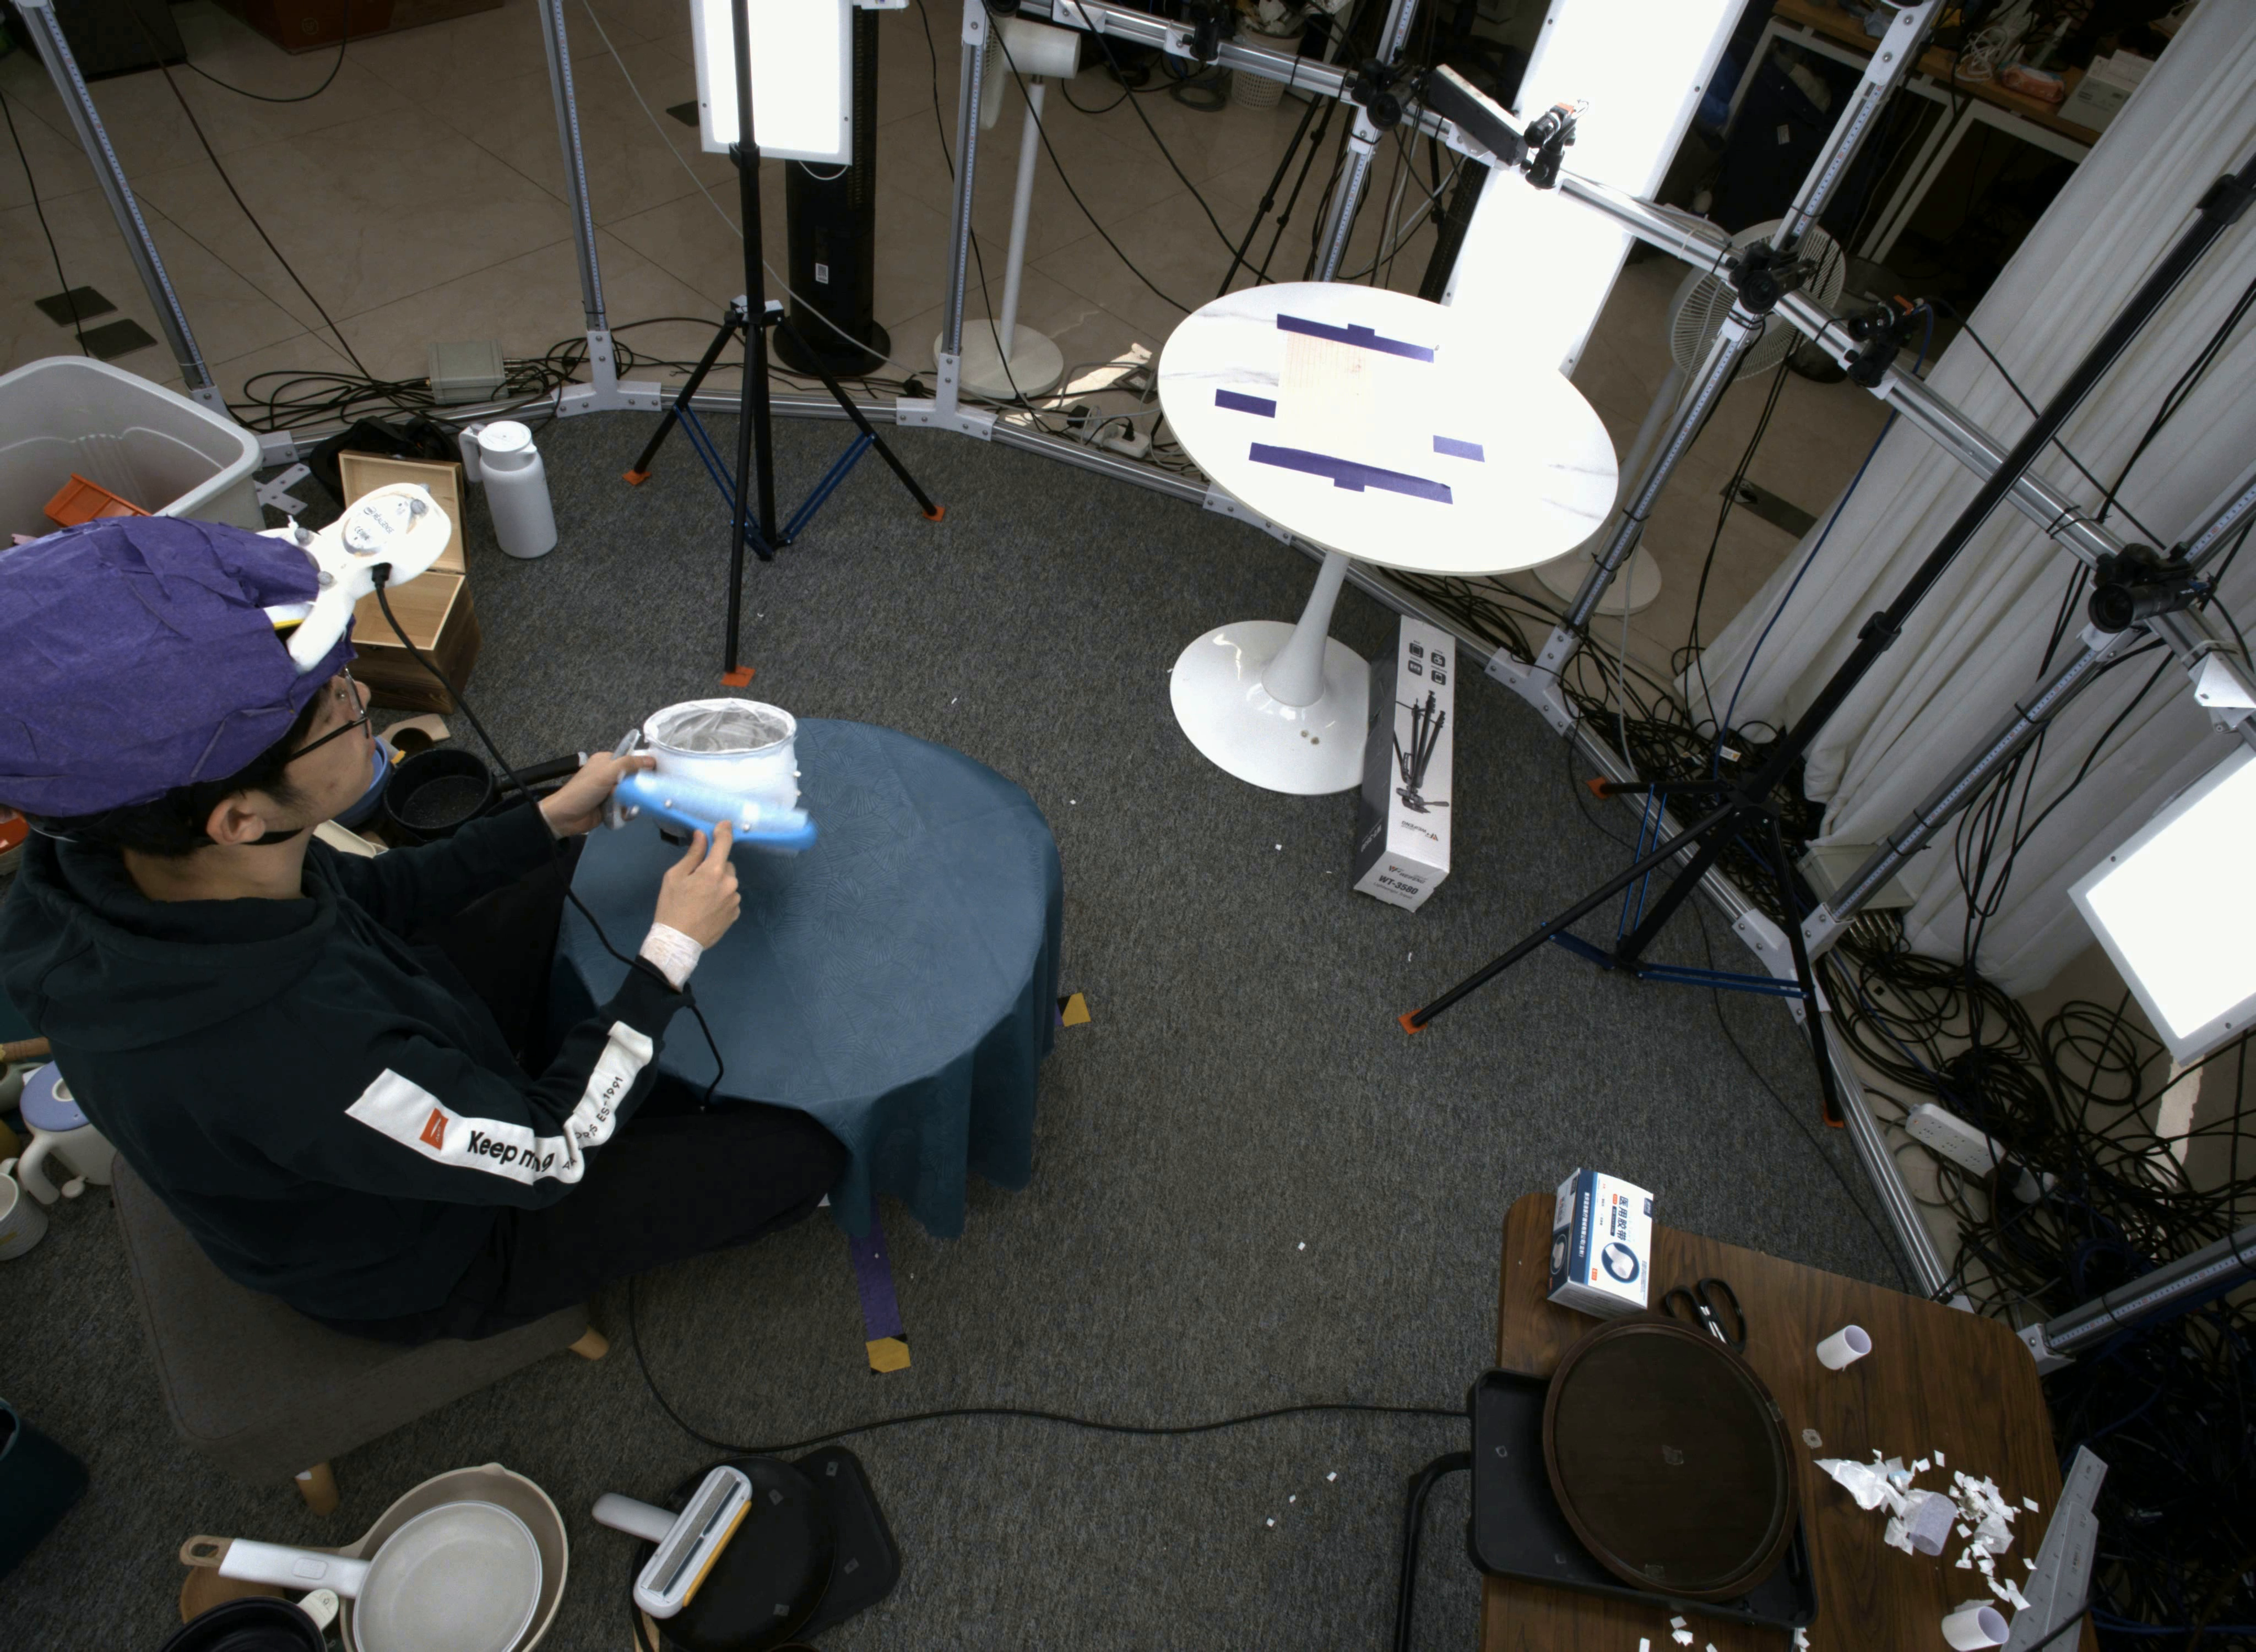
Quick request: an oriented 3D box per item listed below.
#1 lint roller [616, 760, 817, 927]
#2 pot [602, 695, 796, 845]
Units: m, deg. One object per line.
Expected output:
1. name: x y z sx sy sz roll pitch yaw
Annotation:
1. lint roller: -0.458 0.019 1.424 0.233 0.068 0.176 14 48 -27
2. pot: -0.514 -0.064 1.540 0.236 0.140 0.172 -8 28 -30
